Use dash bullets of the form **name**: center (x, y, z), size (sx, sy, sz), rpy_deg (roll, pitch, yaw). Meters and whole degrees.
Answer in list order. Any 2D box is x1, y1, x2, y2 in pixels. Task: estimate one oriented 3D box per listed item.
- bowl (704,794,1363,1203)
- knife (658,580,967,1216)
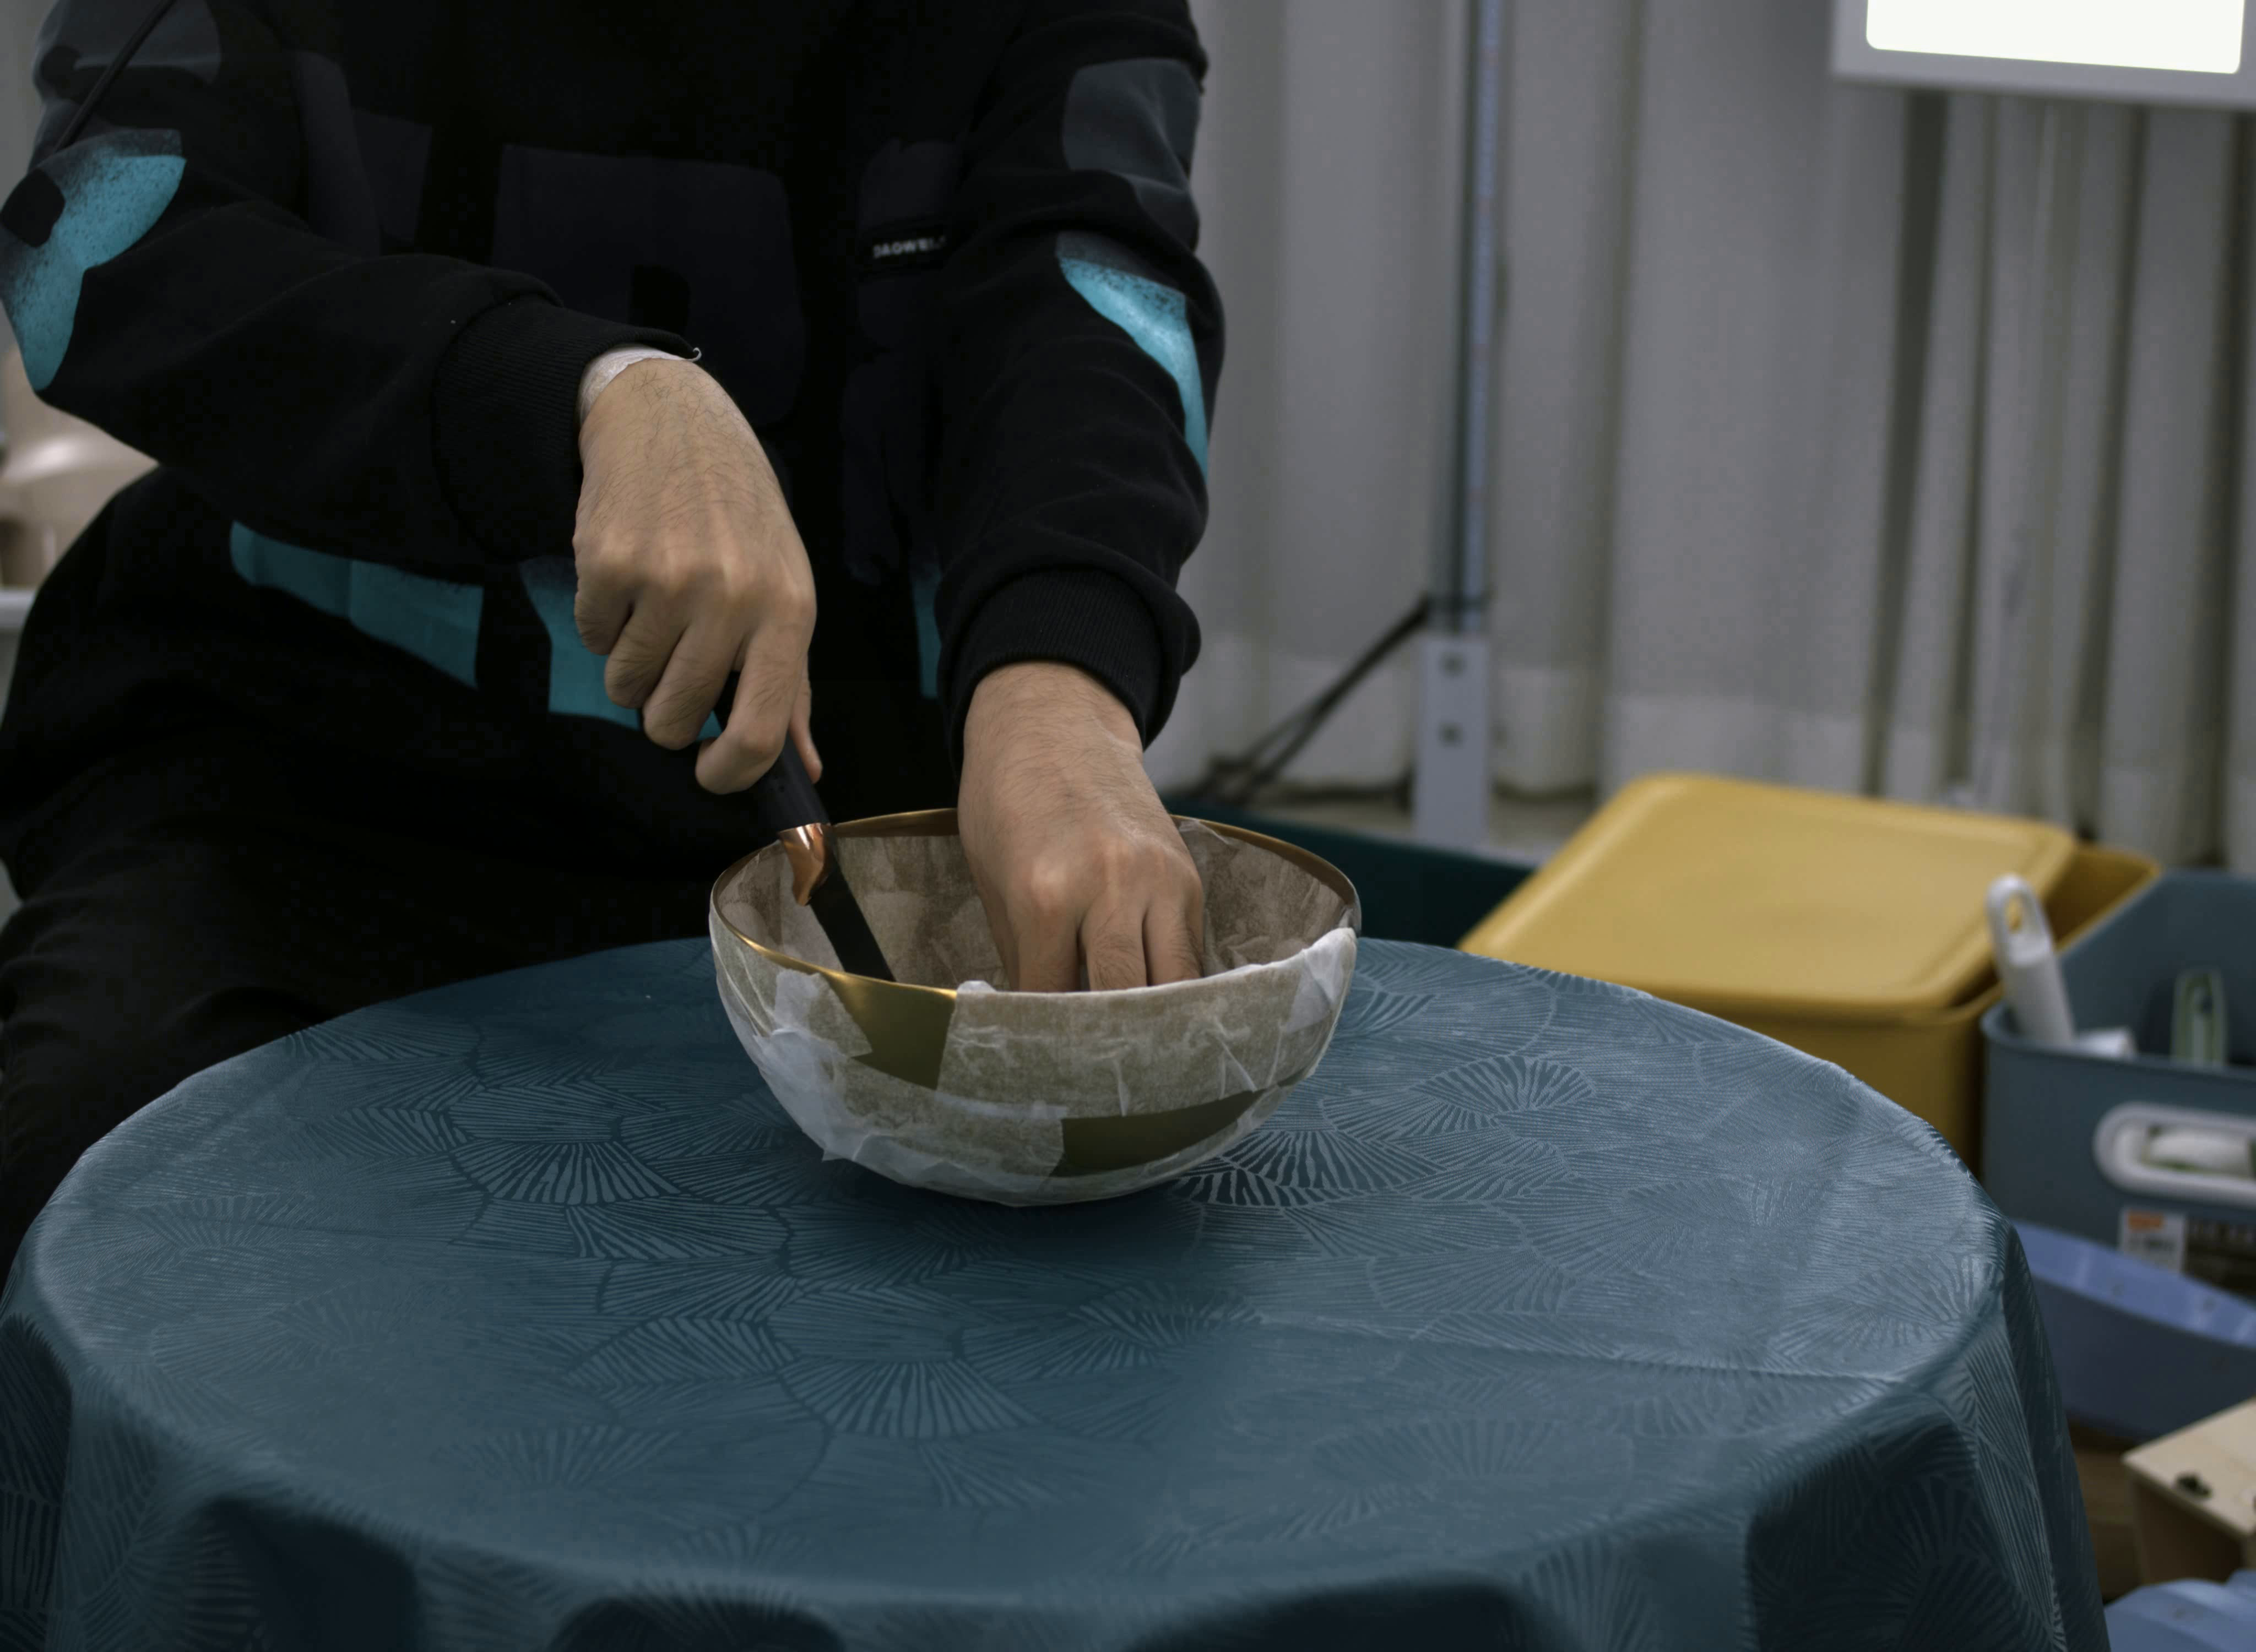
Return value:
- **bowl**: center (-0.029, 0.060, 1.630), size (0.214, 0.095, 0.213), rpy_deg (0, 17, 1)
- **knife**: center (-0.096, 0.021, 1.648), size (0.017, 0.224, 0.026), rpy_deg (-11, -23, -44)
